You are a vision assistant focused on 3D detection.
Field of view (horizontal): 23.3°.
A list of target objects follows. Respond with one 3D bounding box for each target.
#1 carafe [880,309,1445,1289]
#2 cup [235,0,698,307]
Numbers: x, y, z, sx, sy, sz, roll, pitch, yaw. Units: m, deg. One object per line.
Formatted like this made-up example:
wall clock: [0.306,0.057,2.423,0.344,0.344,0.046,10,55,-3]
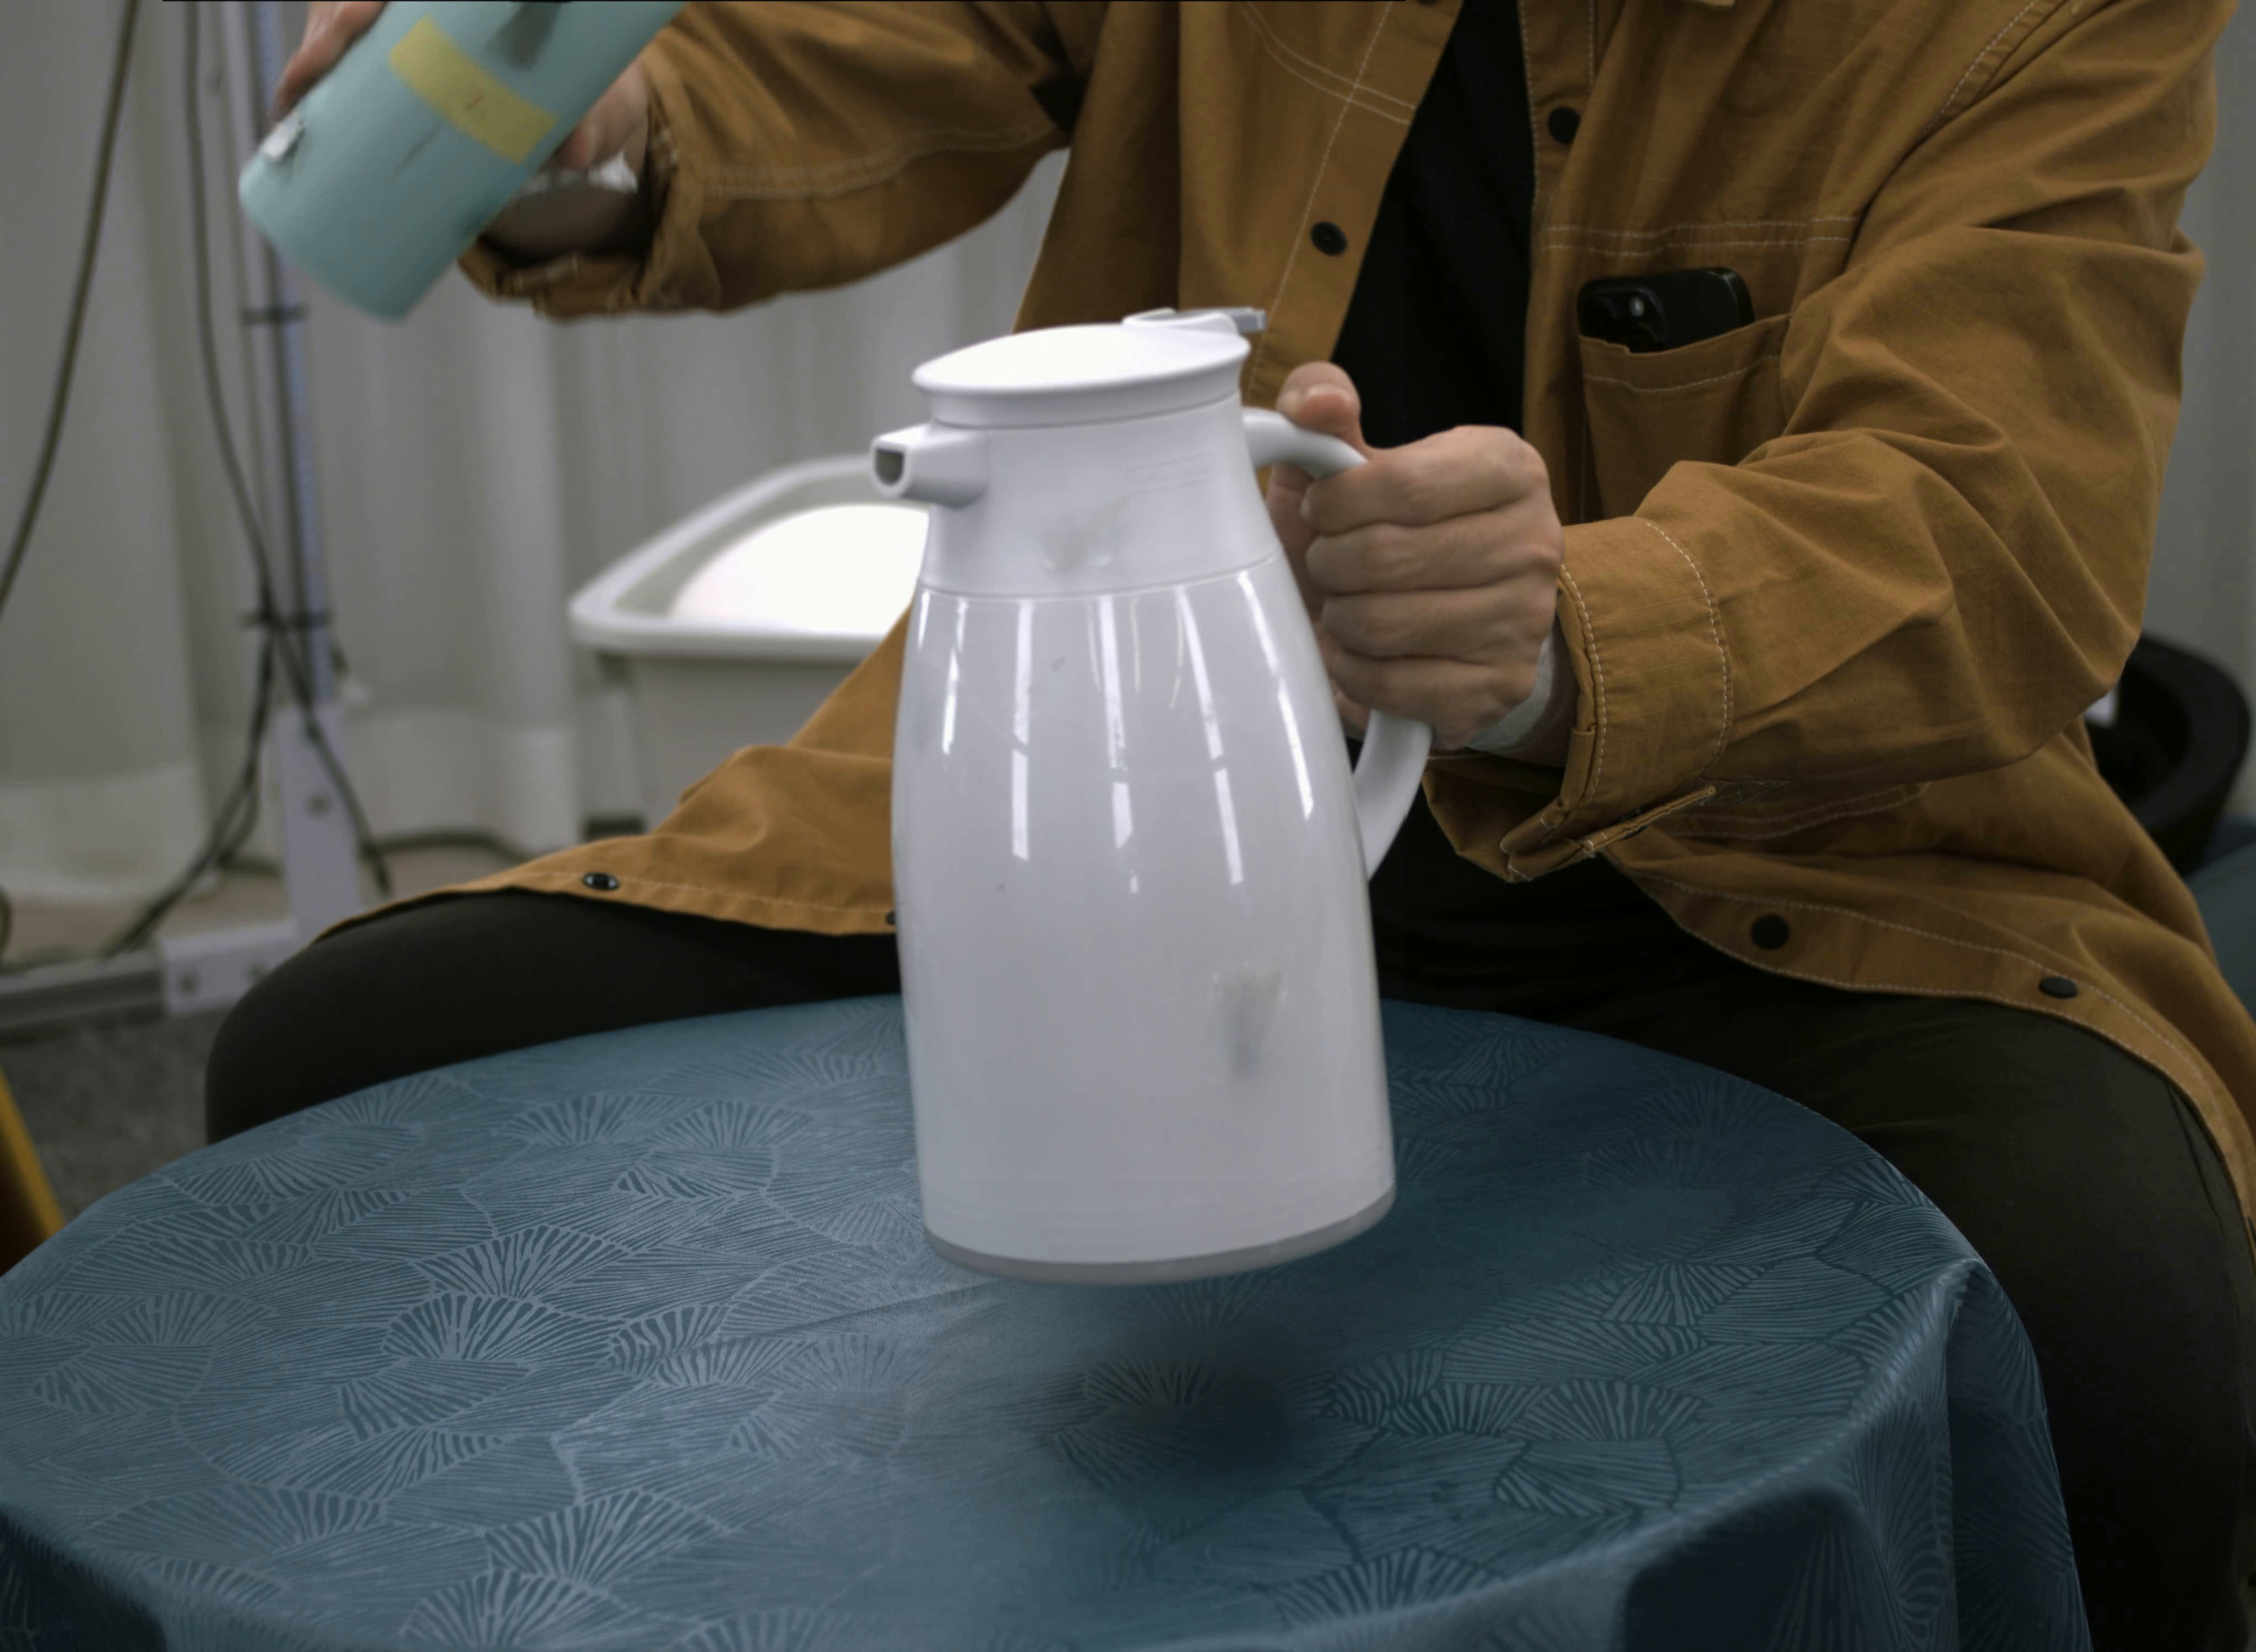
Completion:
carafe: [0.014,-0.015,1.499,0.167,0.248,0.133,-11,13,-30]
cup: [-0.179,-0.210,1.512,0.132,0.066,0.067,-42,3,19]
